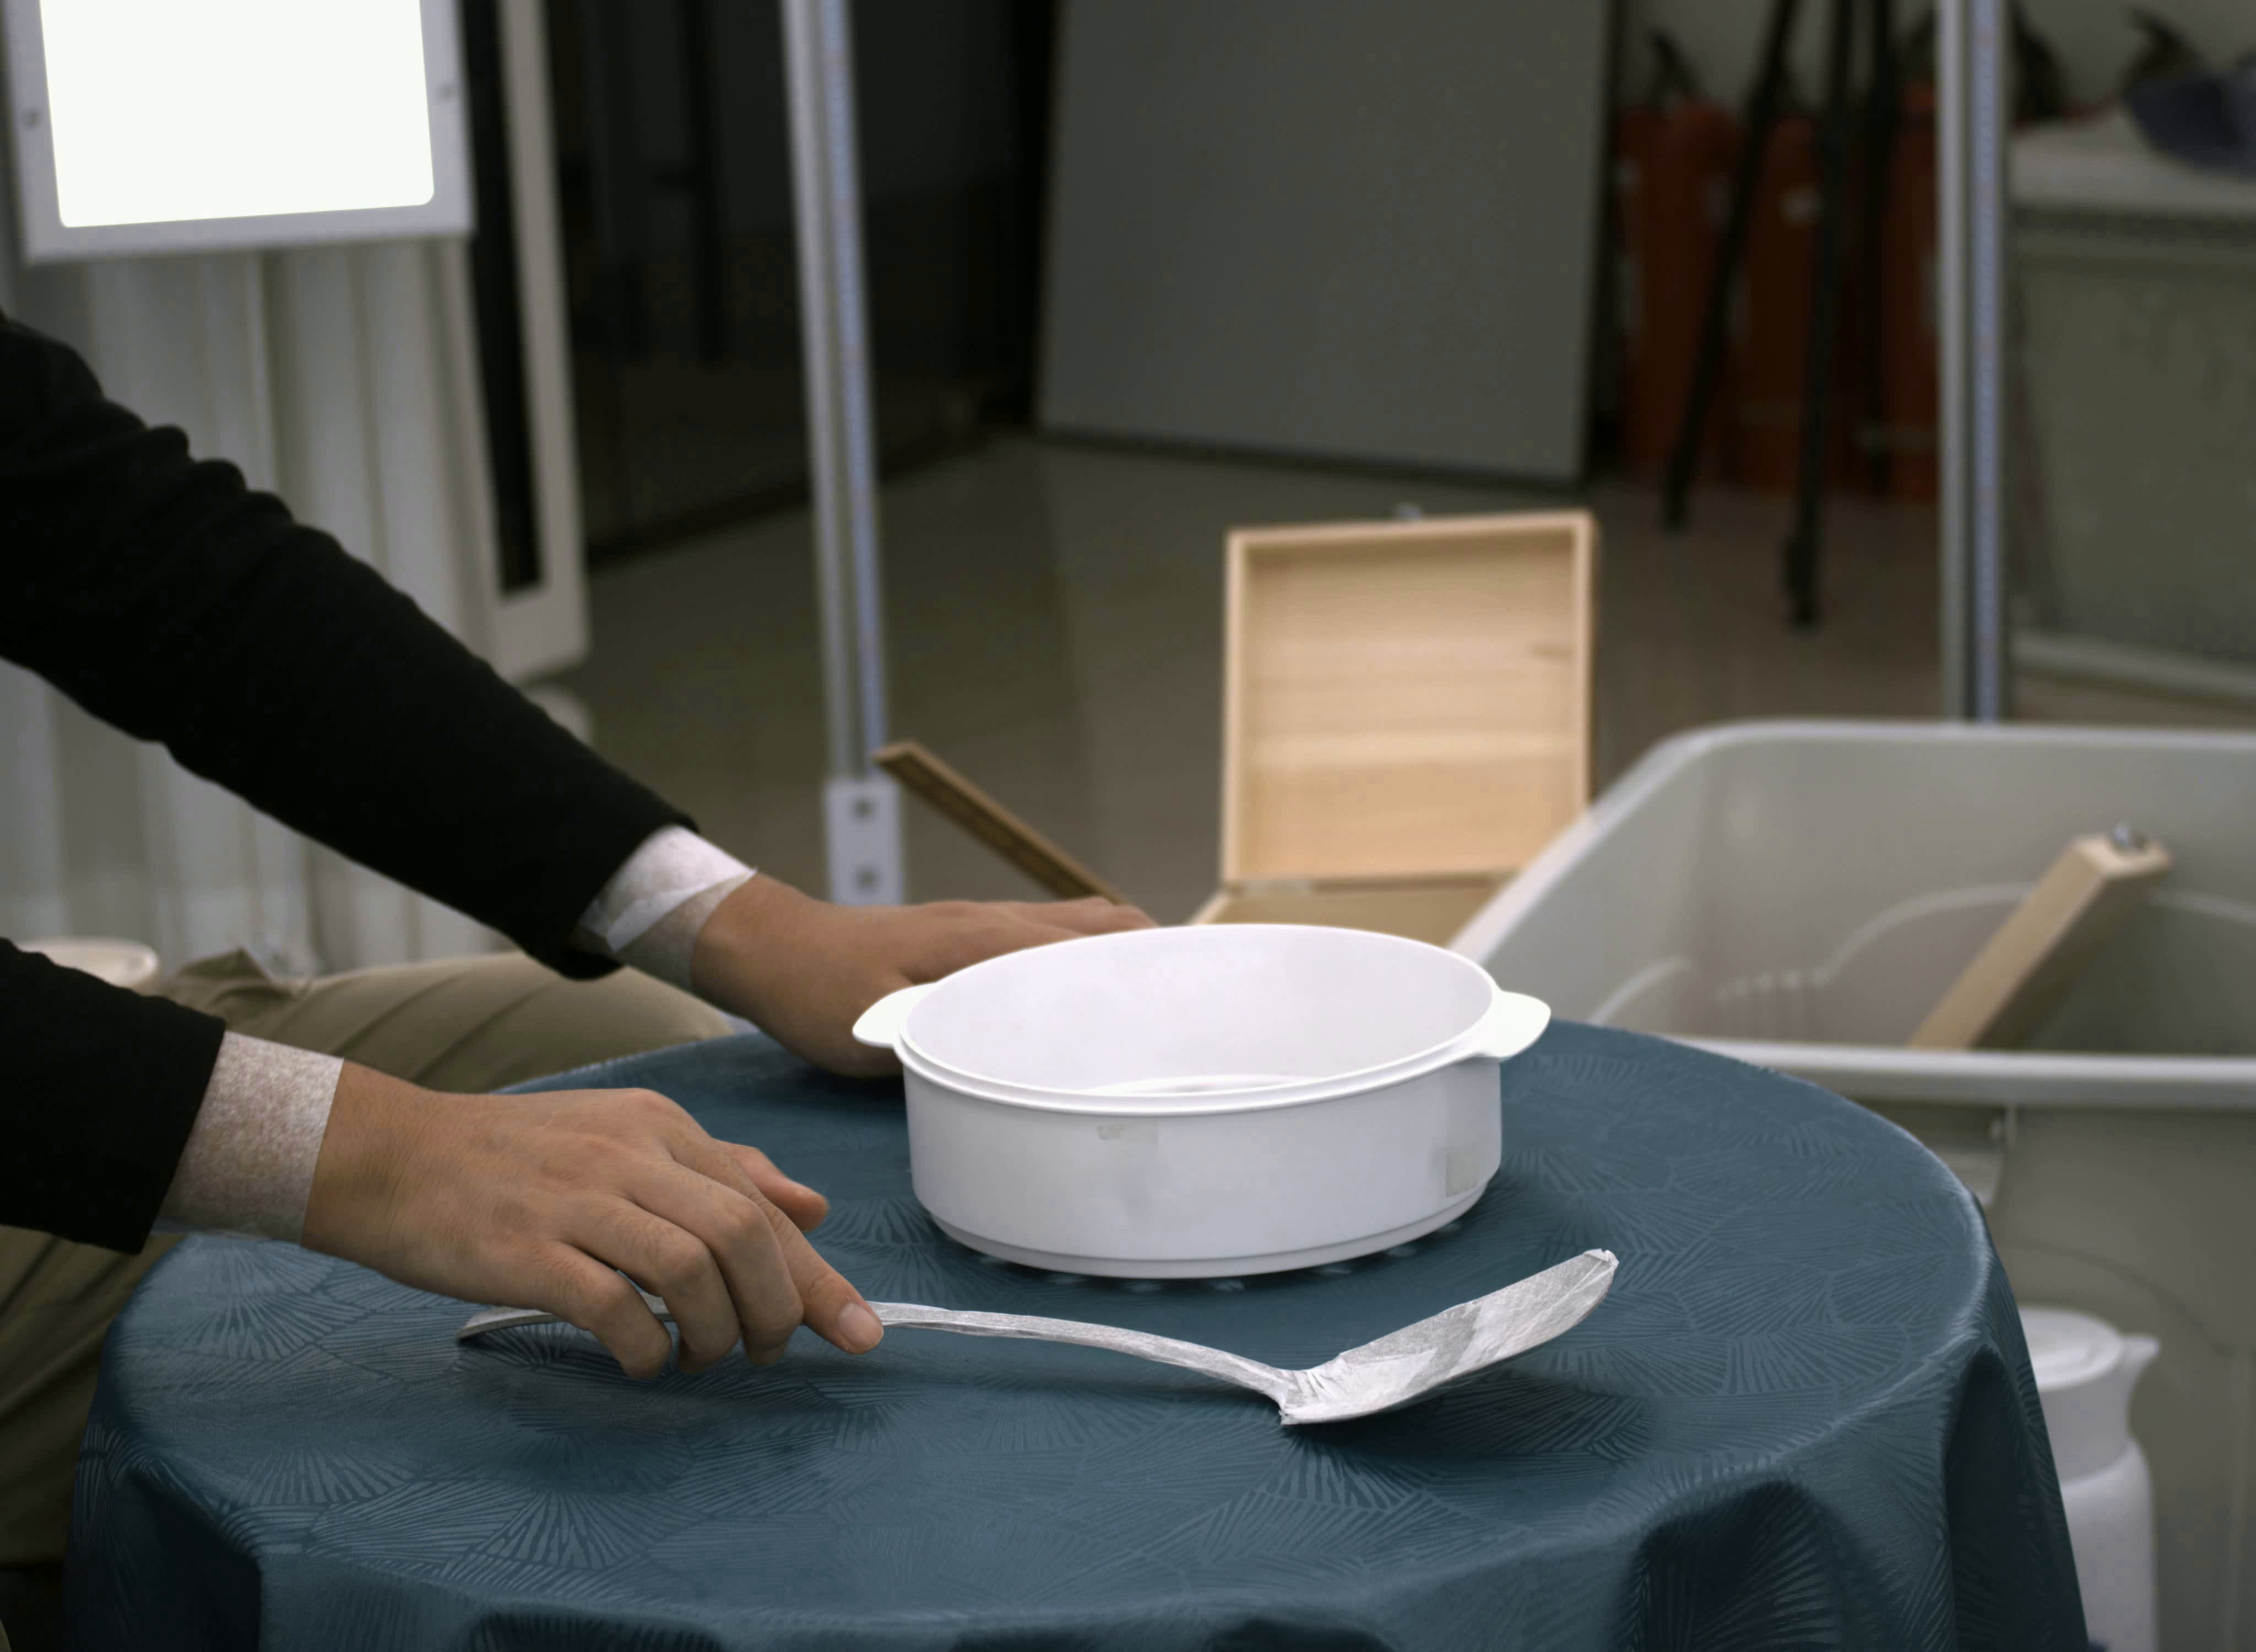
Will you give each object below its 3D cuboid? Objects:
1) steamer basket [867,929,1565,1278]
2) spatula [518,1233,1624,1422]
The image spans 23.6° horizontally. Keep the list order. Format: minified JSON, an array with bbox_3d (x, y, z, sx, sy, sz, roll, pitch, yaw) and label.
[{"bbox_3d":[0.029,0.089,1.745,0.230,0.070,0.200,-1,13,17],"label":"steamer basket"},{"bbox_3d":[-0.029,0.145,1.602,0.365,0.045,0.097,2,17,24],"label":"spatula"}]
